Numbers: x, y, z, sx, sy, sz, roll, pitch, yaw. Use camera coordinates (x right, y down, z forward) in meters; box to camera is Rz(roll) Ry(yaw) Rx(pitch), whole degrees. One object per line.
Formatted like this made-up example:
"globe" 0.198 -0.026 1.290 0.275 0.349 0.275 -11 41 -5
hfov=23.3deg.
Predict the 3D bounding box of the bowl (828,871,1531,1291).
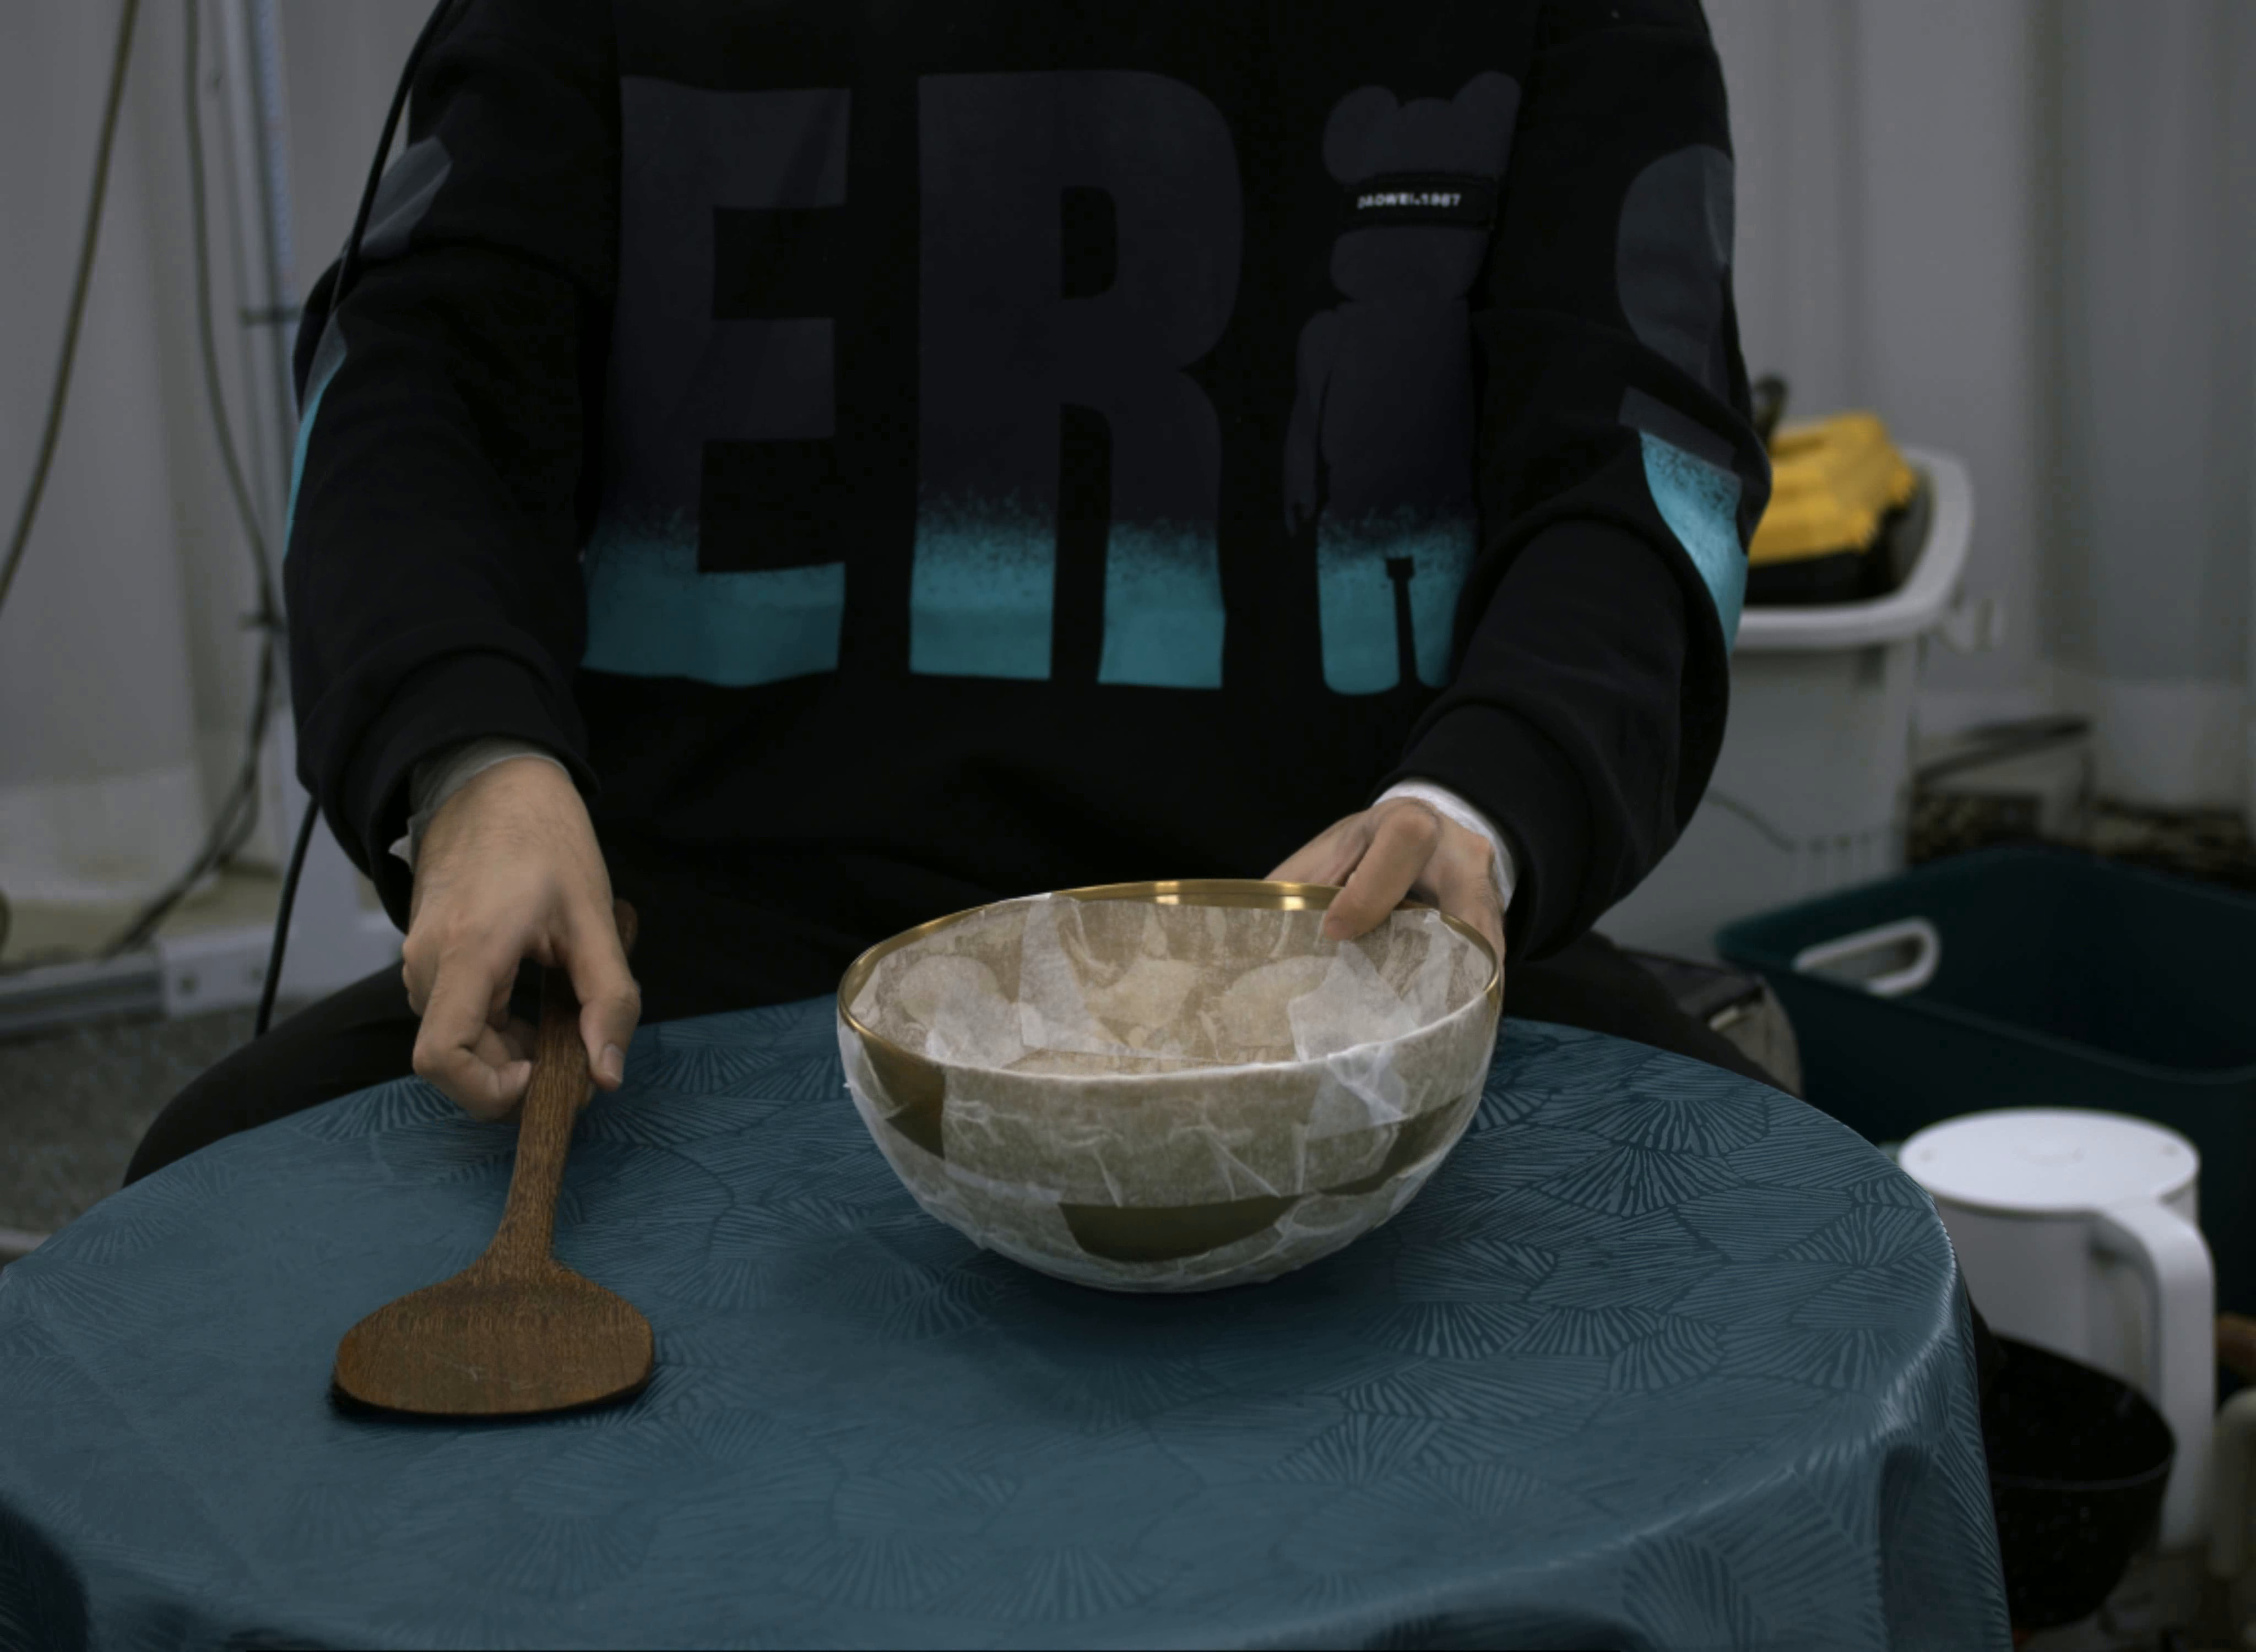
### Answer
"bowl" 0.016 0.084 1.645 0.214 0.094 0.216 -4 14 1

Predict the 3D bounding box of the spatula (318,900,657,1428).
"spatula" -0.184 0.098 1.722 0.096 0.015 0.390 -1 22 0
